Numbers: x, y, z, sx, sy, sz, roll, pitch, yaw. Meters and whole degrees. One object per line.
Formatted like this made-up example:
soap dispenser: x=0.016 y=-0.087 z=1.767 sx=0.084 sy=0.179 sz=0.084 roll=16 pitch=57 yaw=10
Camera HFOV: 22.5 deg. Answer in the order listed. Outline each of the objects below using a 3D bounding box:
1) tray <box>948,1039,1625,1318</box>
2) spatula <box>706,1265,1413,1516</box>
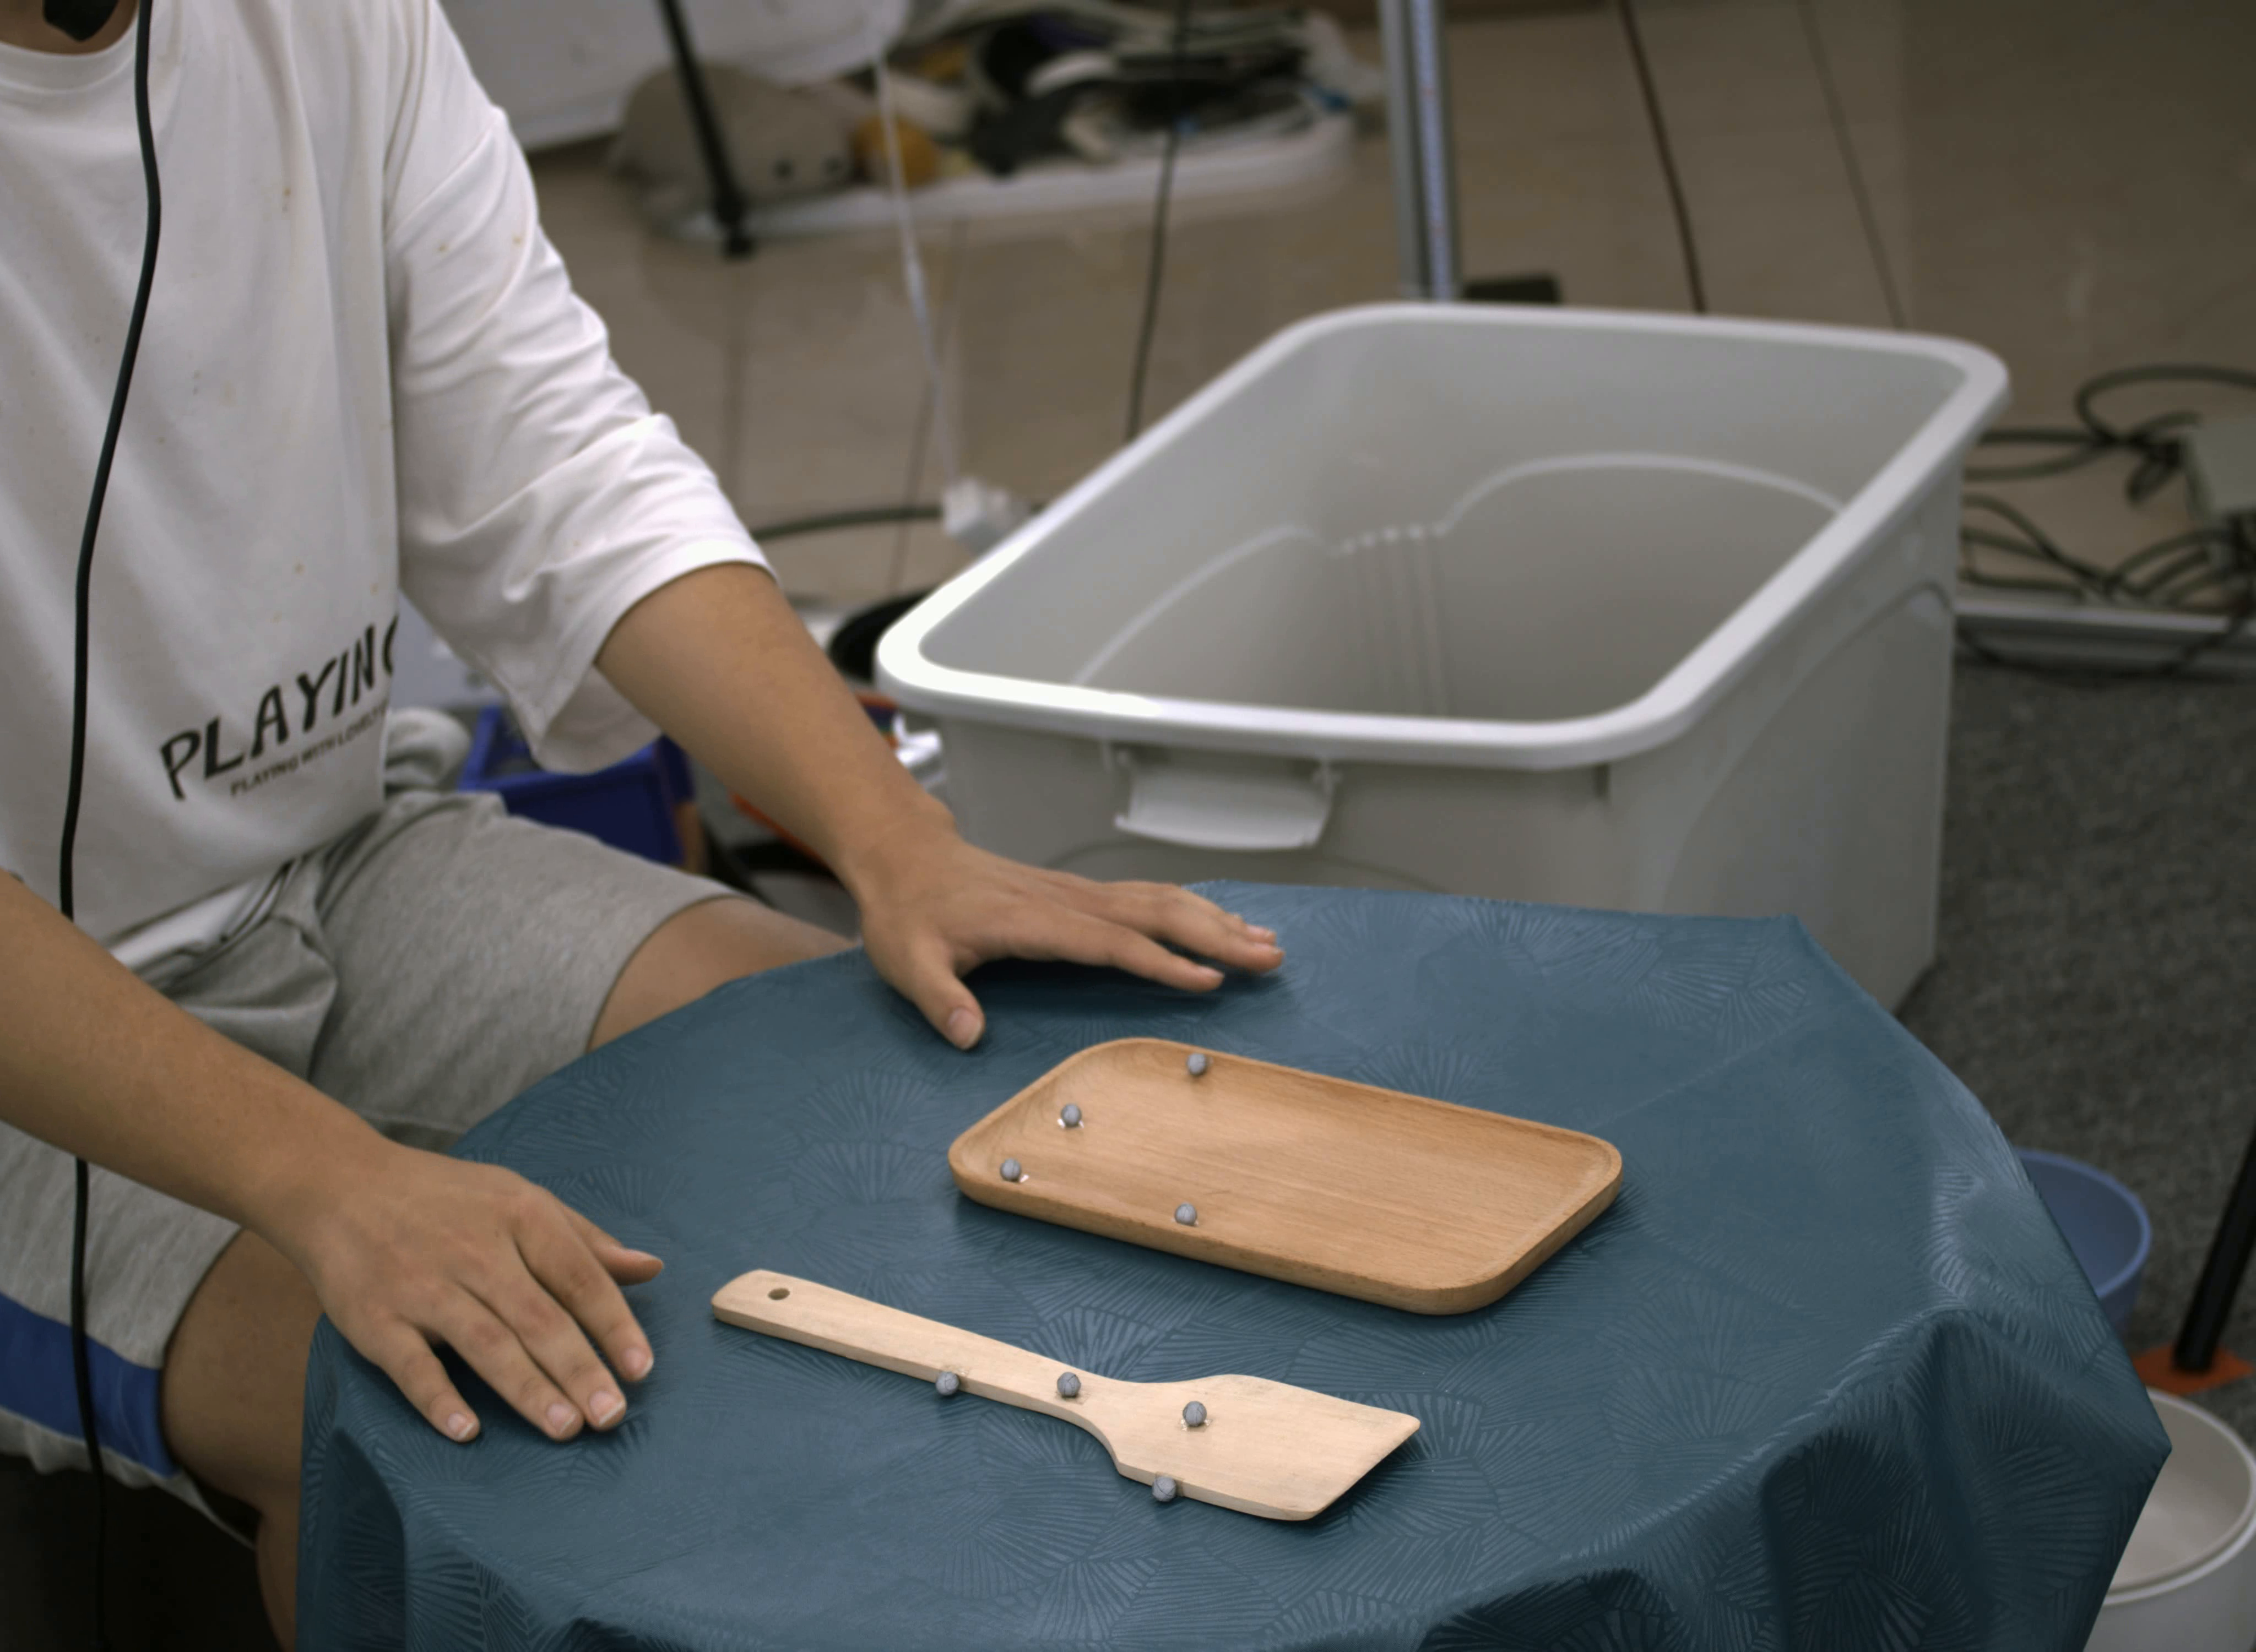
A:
tray: x=0.058 y=0.131 z=2.130 sx=0.249 sy=0.023 sz=0.129 roll=13 pitch=34 yaw=35
spatula: x=-0.036 y=0.196 z=2.020 sx=0.291 sy=0.011 sz=0.071 roll=12 pitch=32 yaw=35
